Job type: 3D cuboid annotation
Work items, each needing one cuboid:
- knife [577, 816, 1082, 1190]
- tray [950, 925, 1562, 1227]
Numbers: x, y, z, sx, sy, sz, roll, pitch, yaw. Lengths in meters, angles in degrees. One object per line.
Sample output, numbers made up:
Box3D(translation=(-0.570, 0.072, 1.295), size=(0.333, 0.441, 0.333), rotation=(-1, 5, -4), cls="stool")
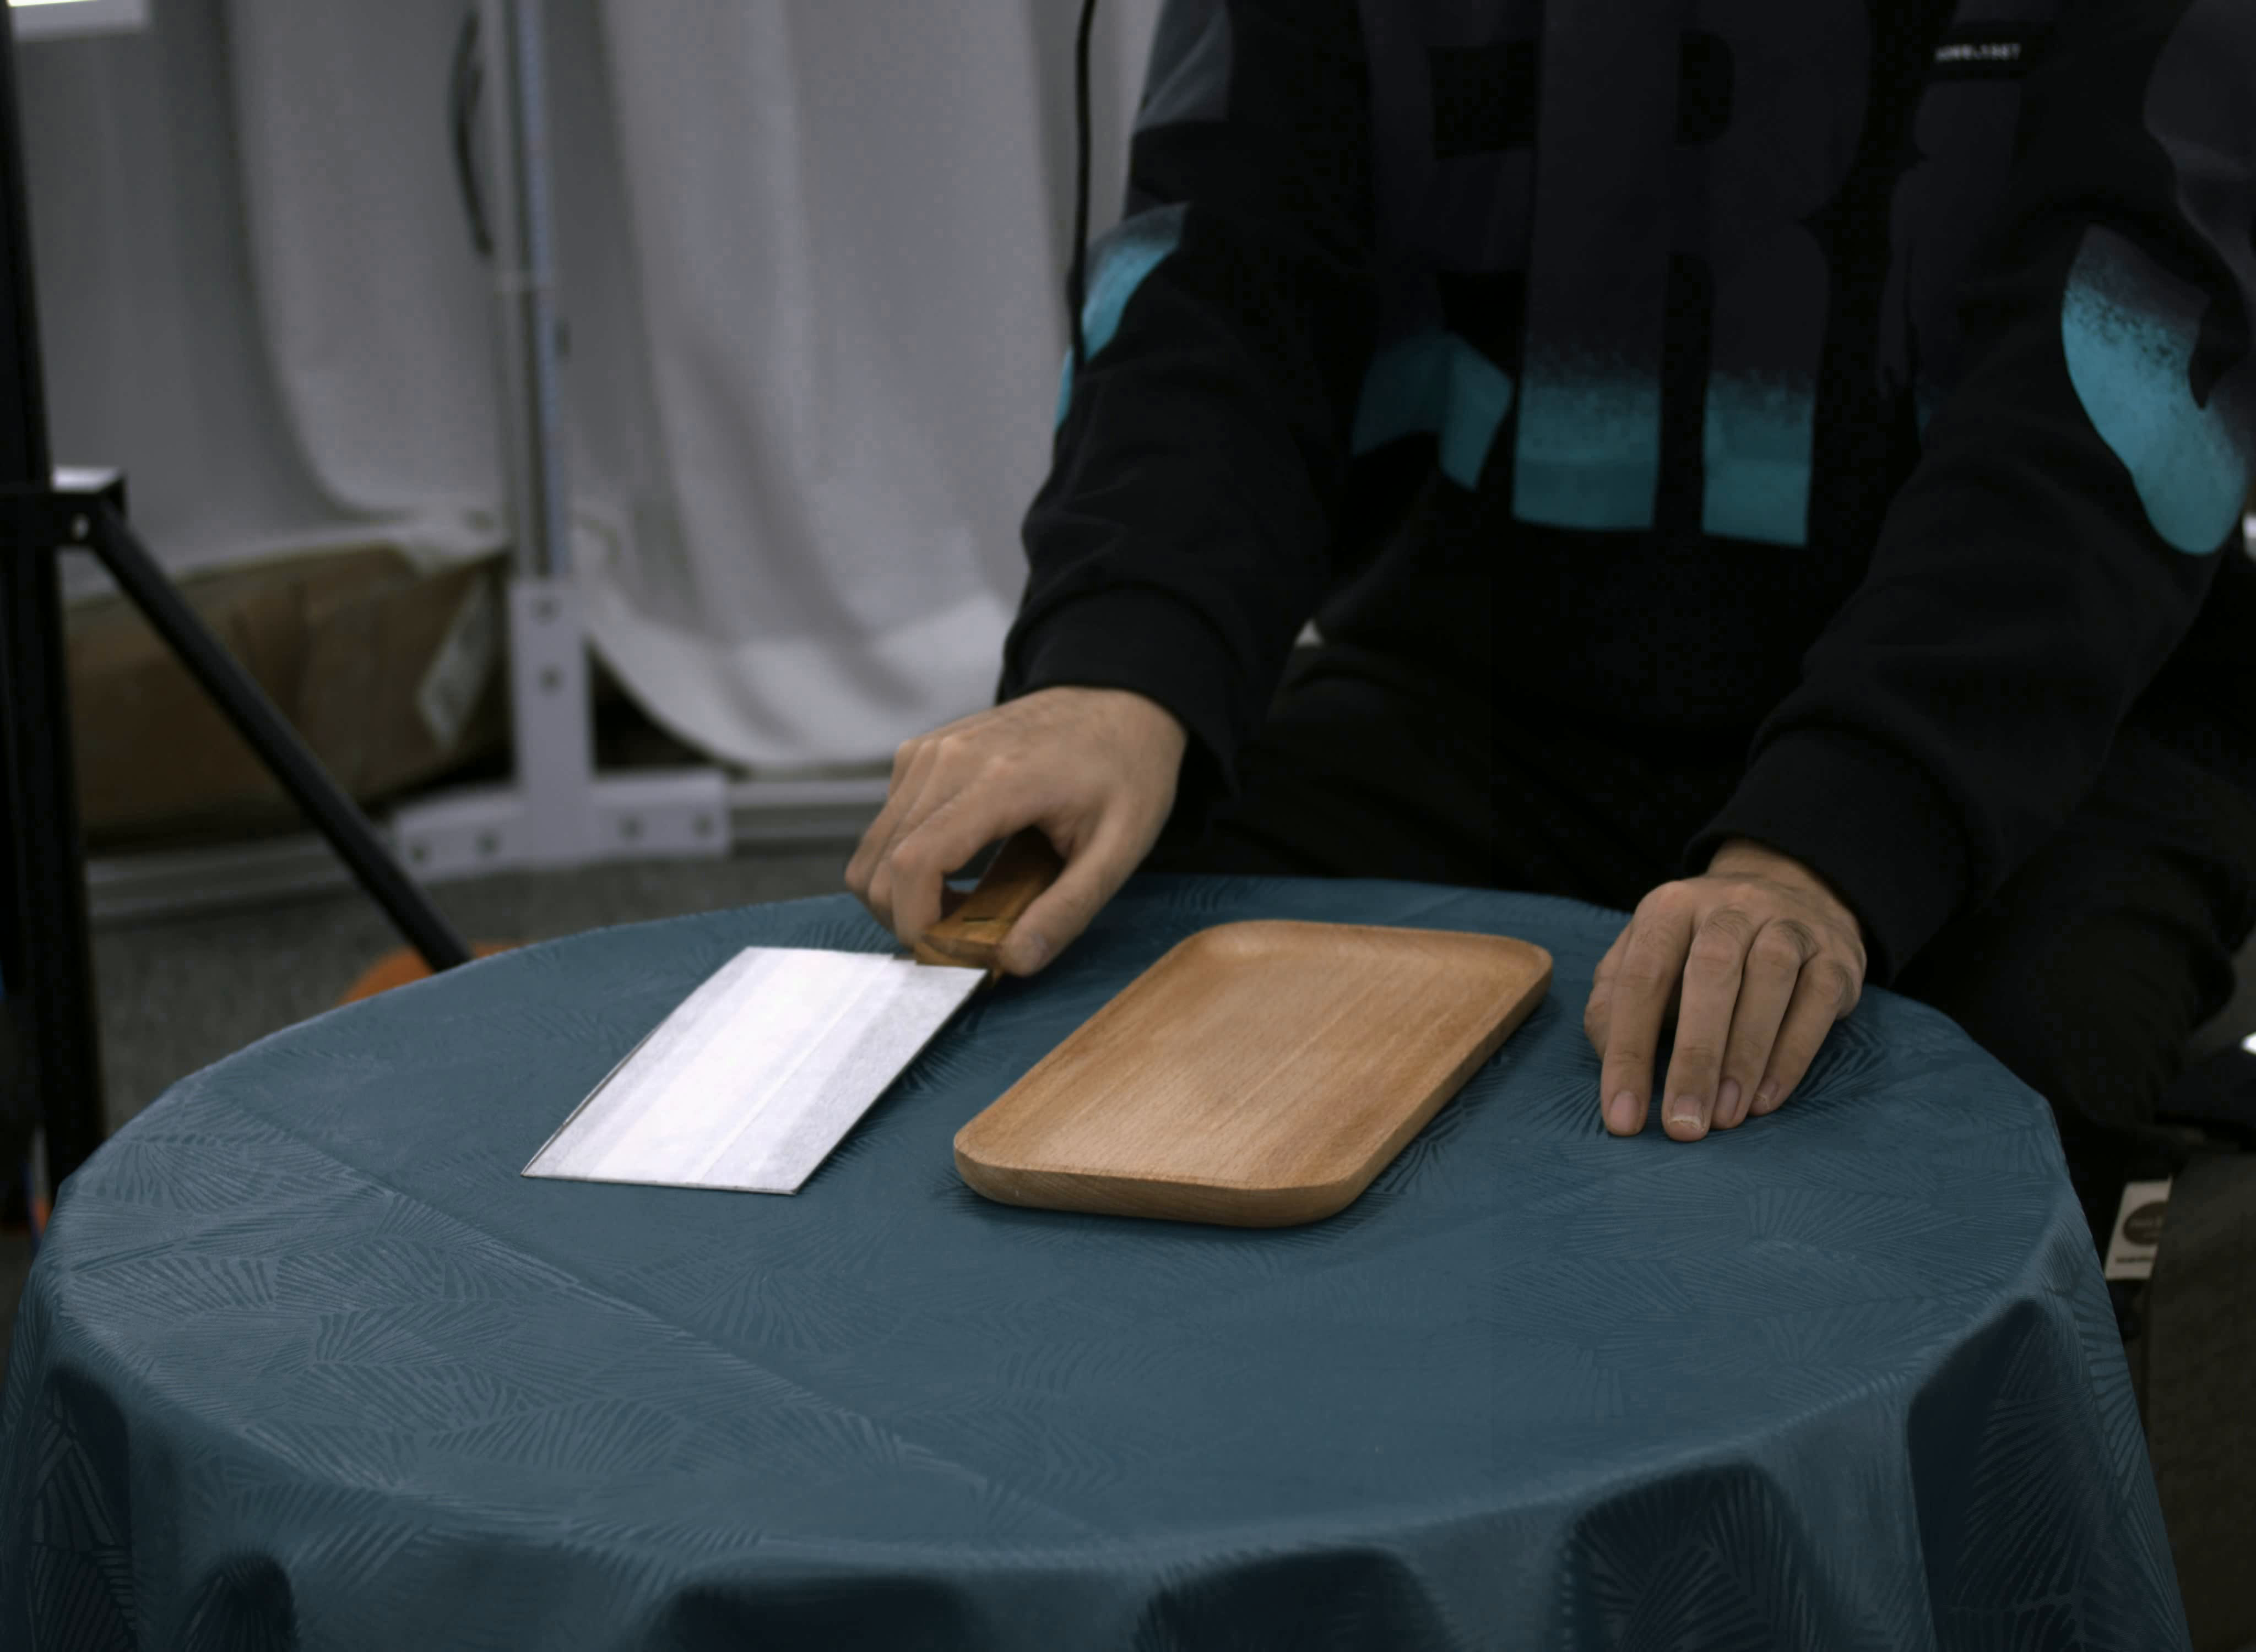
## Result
Box3D(translation=(-0.095, 0.055, 1.718), size=(0.094, 0.021, 0.303), rotation=(2, 21, 18), cls="knife")
Box3D(translation=(0.044, 0.075, 1.639), size=(0.132, 0.023, 0.247), rotation=(6, 17, 22), cls="tray")
